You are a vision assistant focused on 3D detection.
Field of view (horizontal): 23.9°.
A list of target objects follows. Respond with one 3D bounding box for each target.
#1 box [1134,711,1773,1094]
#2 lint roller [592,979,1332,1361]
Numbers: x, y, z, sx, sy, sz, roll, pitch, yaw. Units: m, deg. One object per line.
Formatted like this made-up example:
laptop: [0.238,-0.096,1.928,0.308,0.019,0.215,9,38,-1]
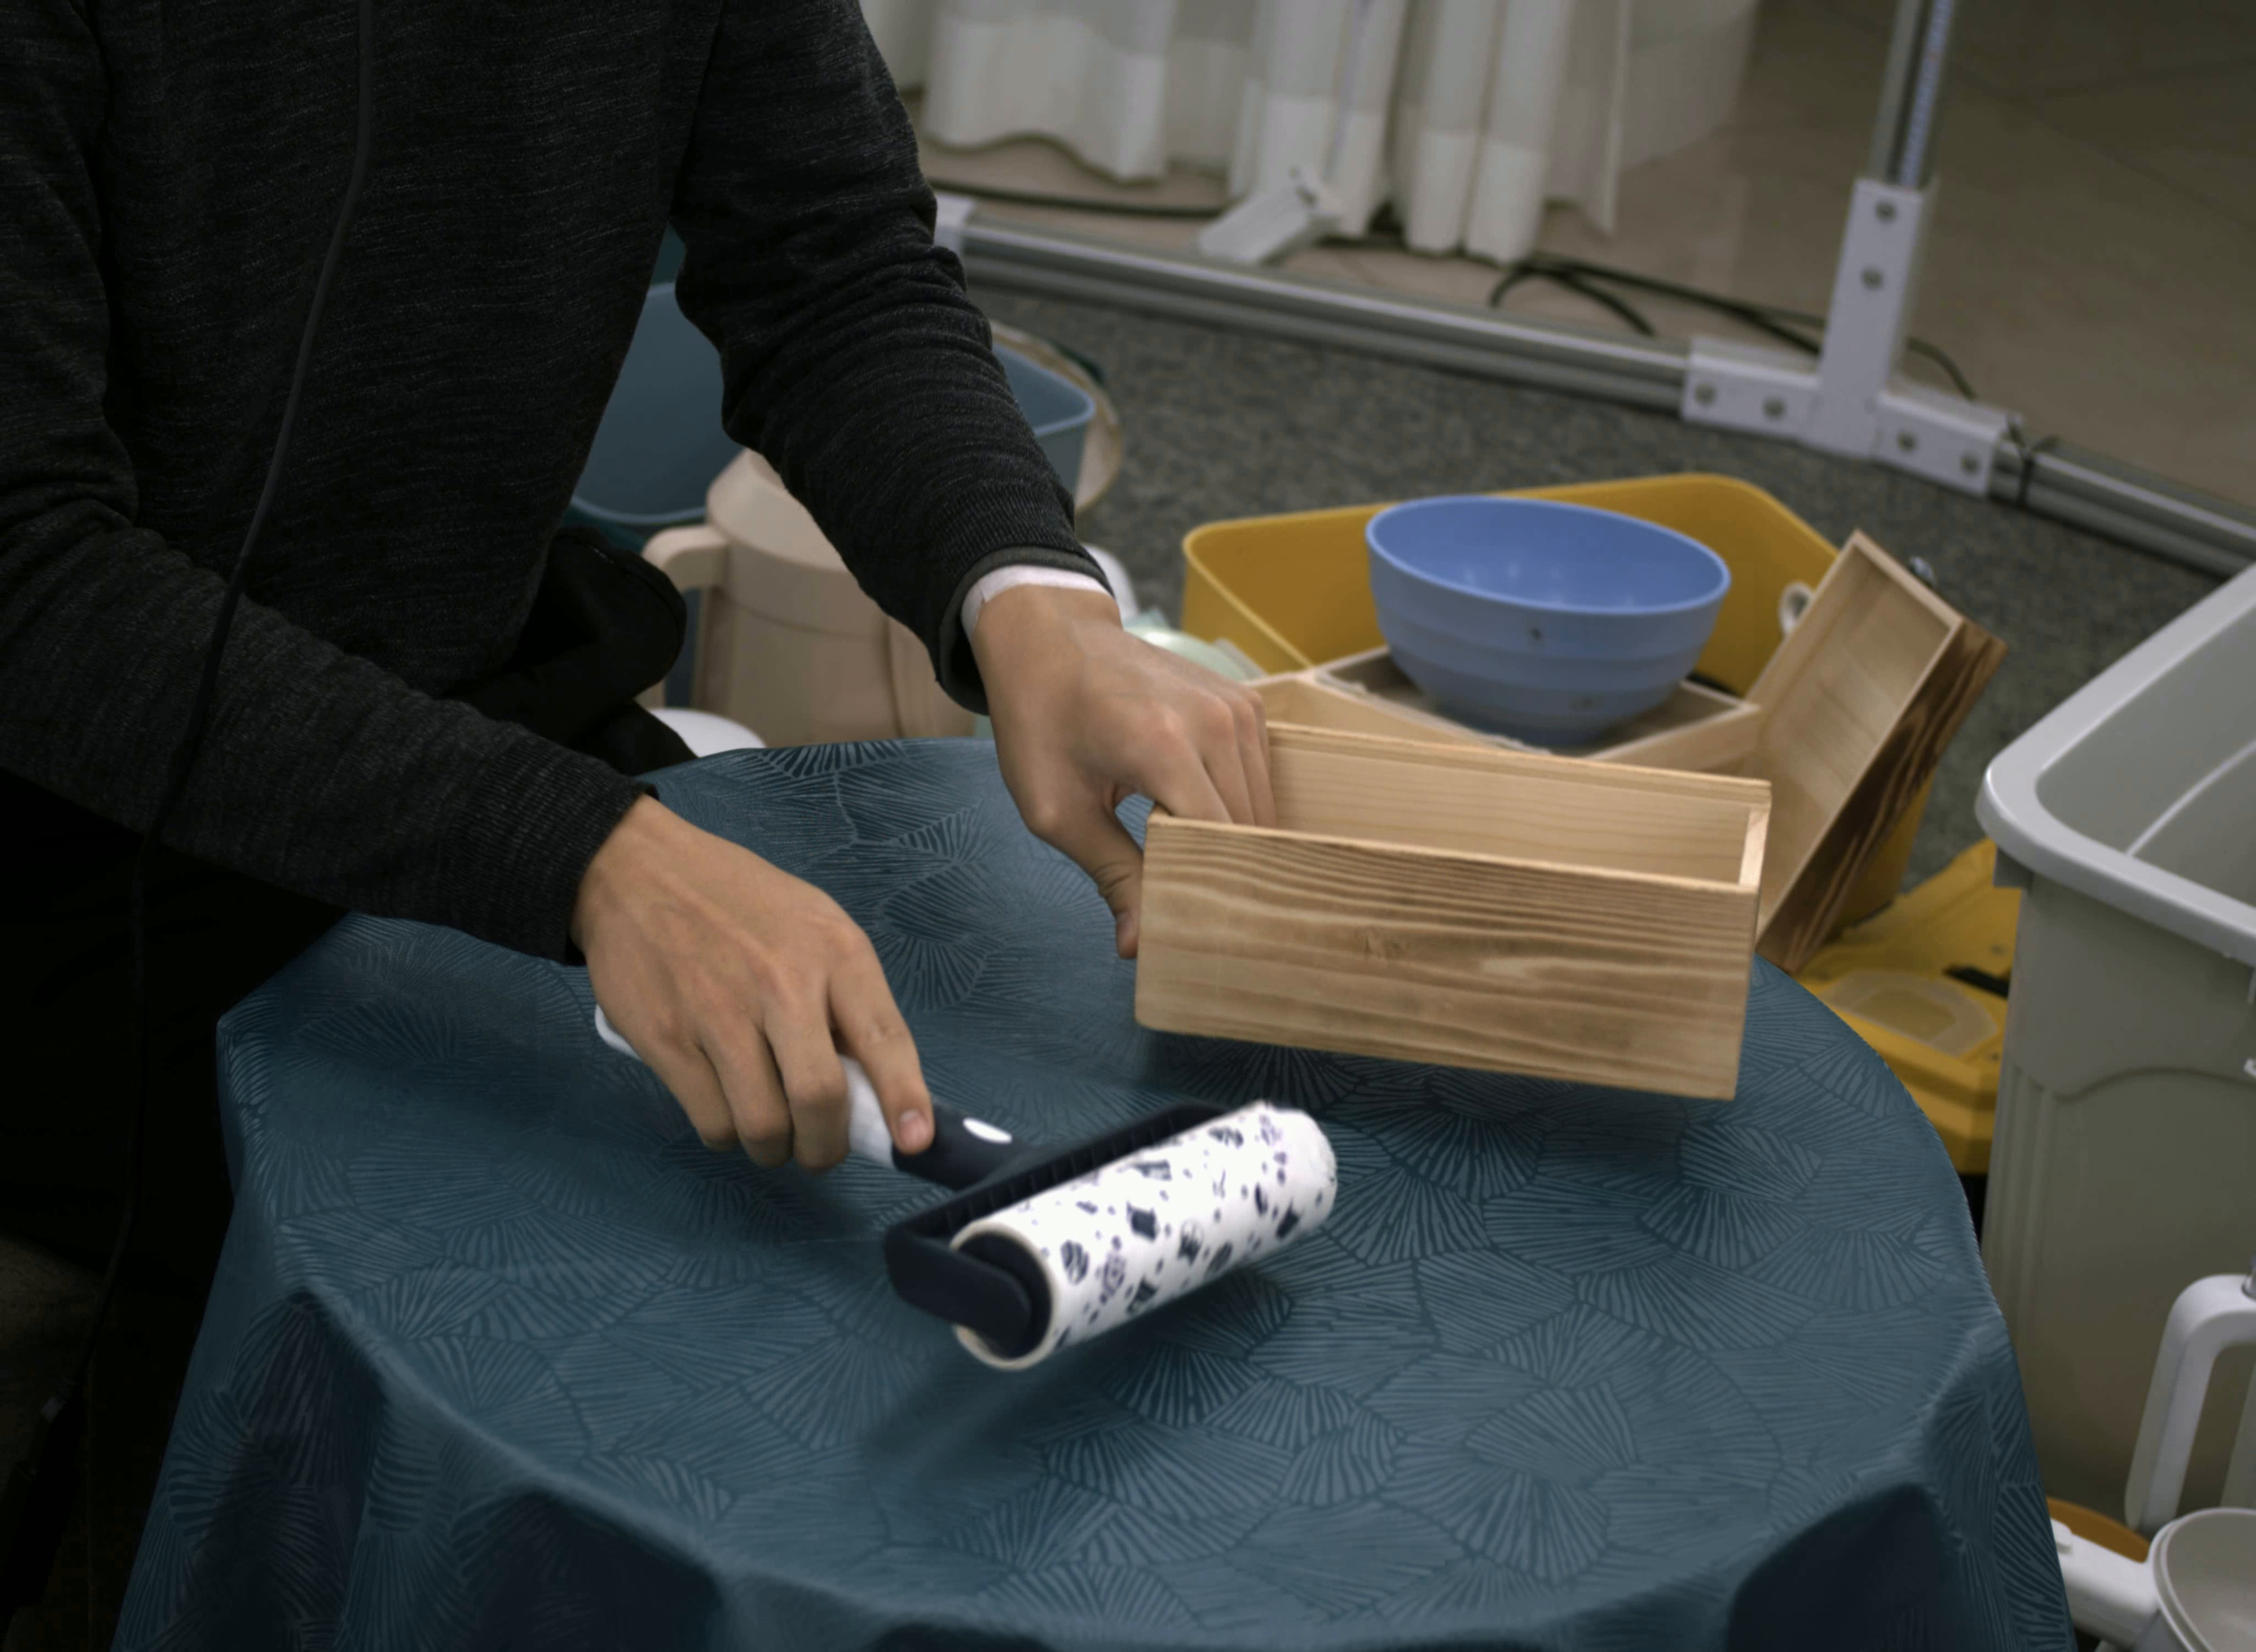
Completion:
box: [0.115,0.026,1.869,0.211,0.080,0.108,6,22,8]
lint roller: [-0.077,0.093,1.742,0.248,0.050,0.175,22,24,29]
